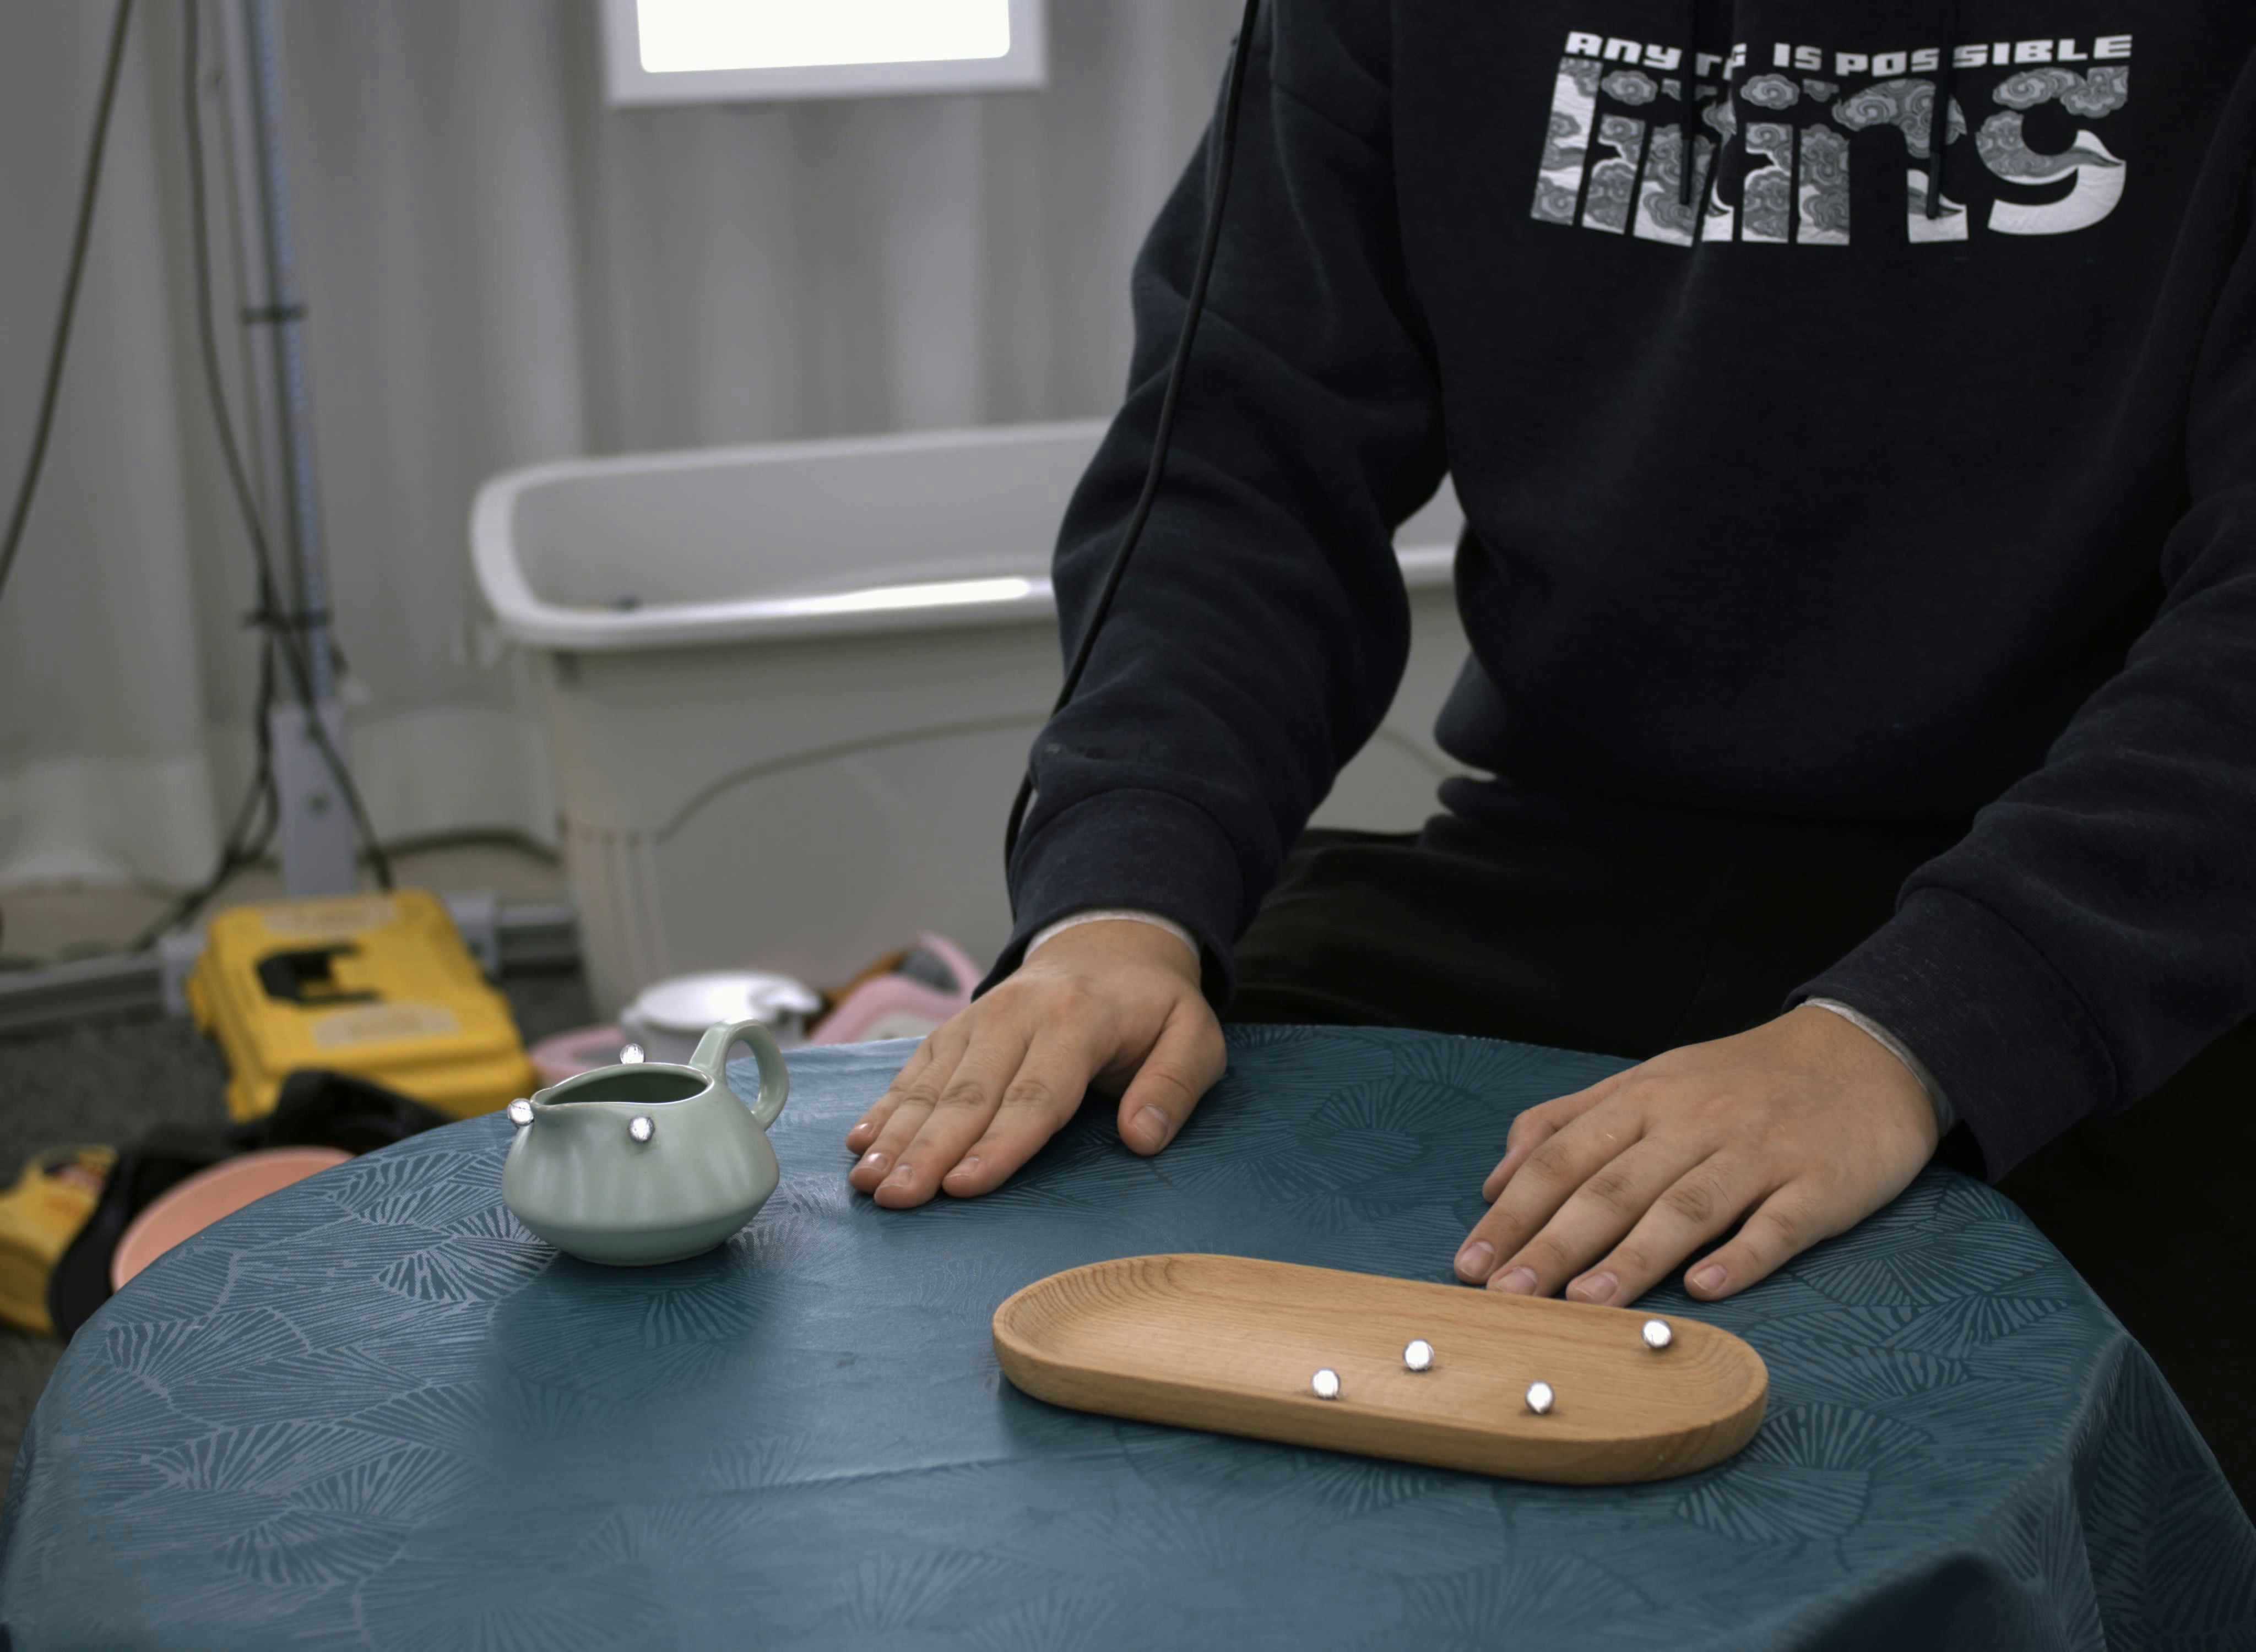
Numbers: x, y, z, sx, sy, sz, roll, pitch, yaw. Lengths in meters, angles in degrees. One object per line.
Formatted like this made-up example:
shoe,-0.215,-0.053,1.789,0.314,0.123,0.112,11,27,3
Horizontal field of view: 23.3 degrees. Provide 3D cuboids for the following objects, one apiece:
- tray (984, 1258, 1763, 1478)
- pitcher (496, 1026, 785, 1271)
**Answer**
tray,0.067,0.152,1.536,0.231,0.020,0.102,3,14,28
pitcher,-0.145,0.100,1.693,0.086,0.060,0.108,9,17,35
